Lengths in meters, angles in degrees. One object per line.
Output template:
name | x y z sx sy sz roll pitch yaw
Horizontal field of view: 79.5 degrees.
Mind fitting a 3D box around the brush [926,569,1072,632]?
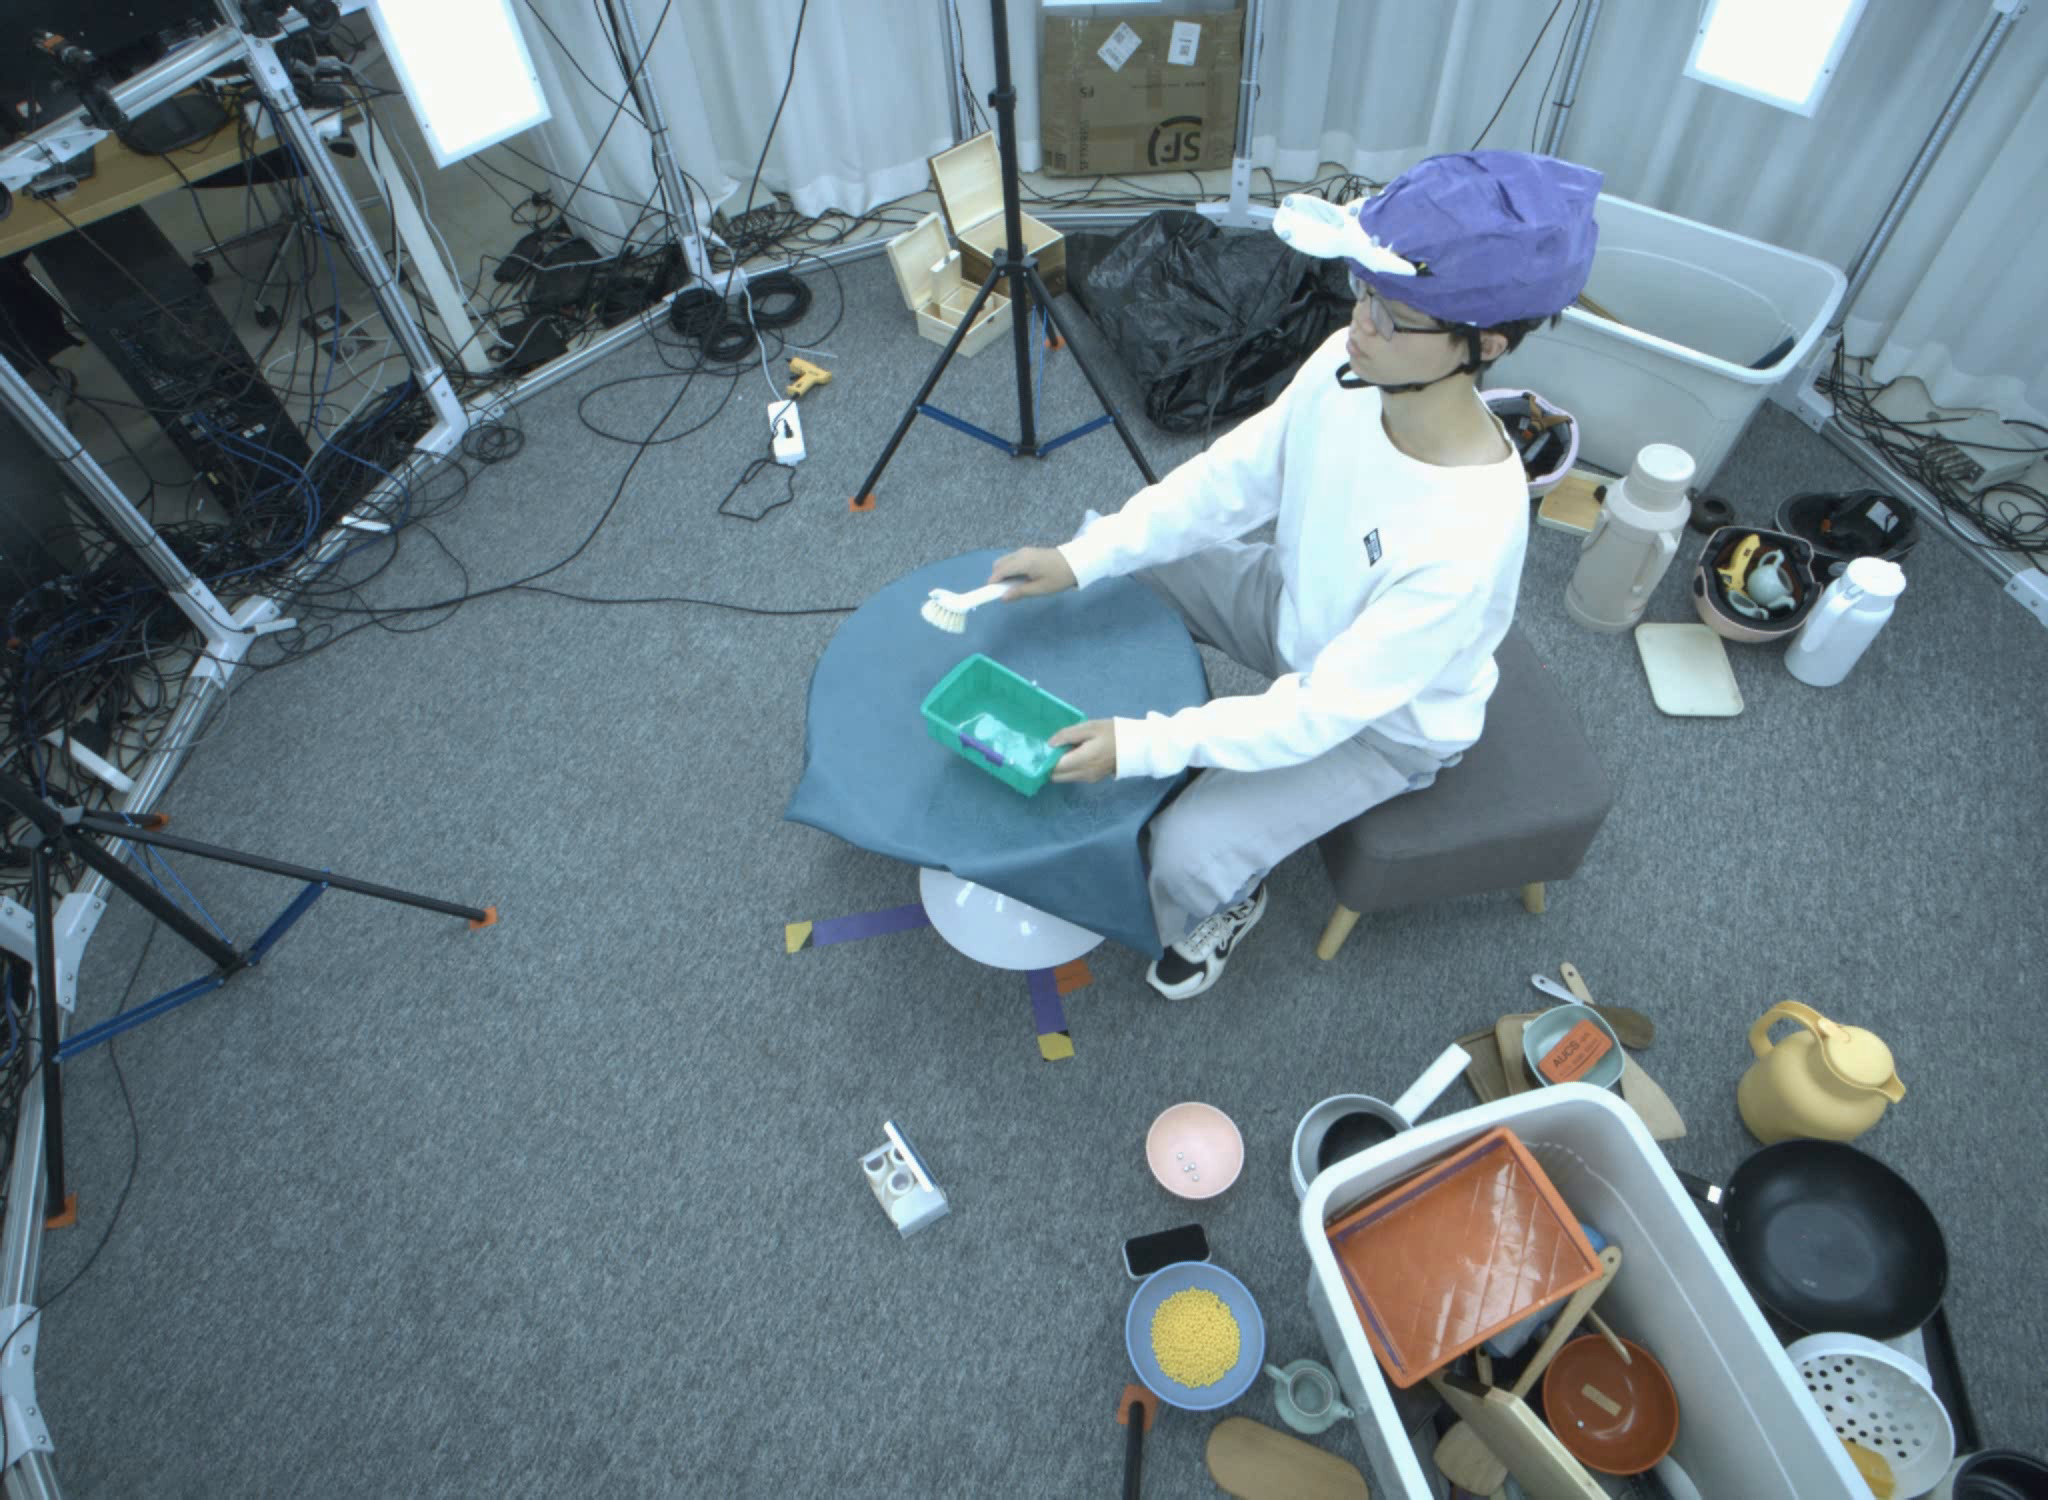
brush | -0.035 -0.231 1.857 0.271 0.056 0.067 -16 60 -41

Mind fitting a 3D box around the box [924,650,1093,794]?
box | -0.023 -0.037 1.709 0.208 0.066 0.139 32 57 15
